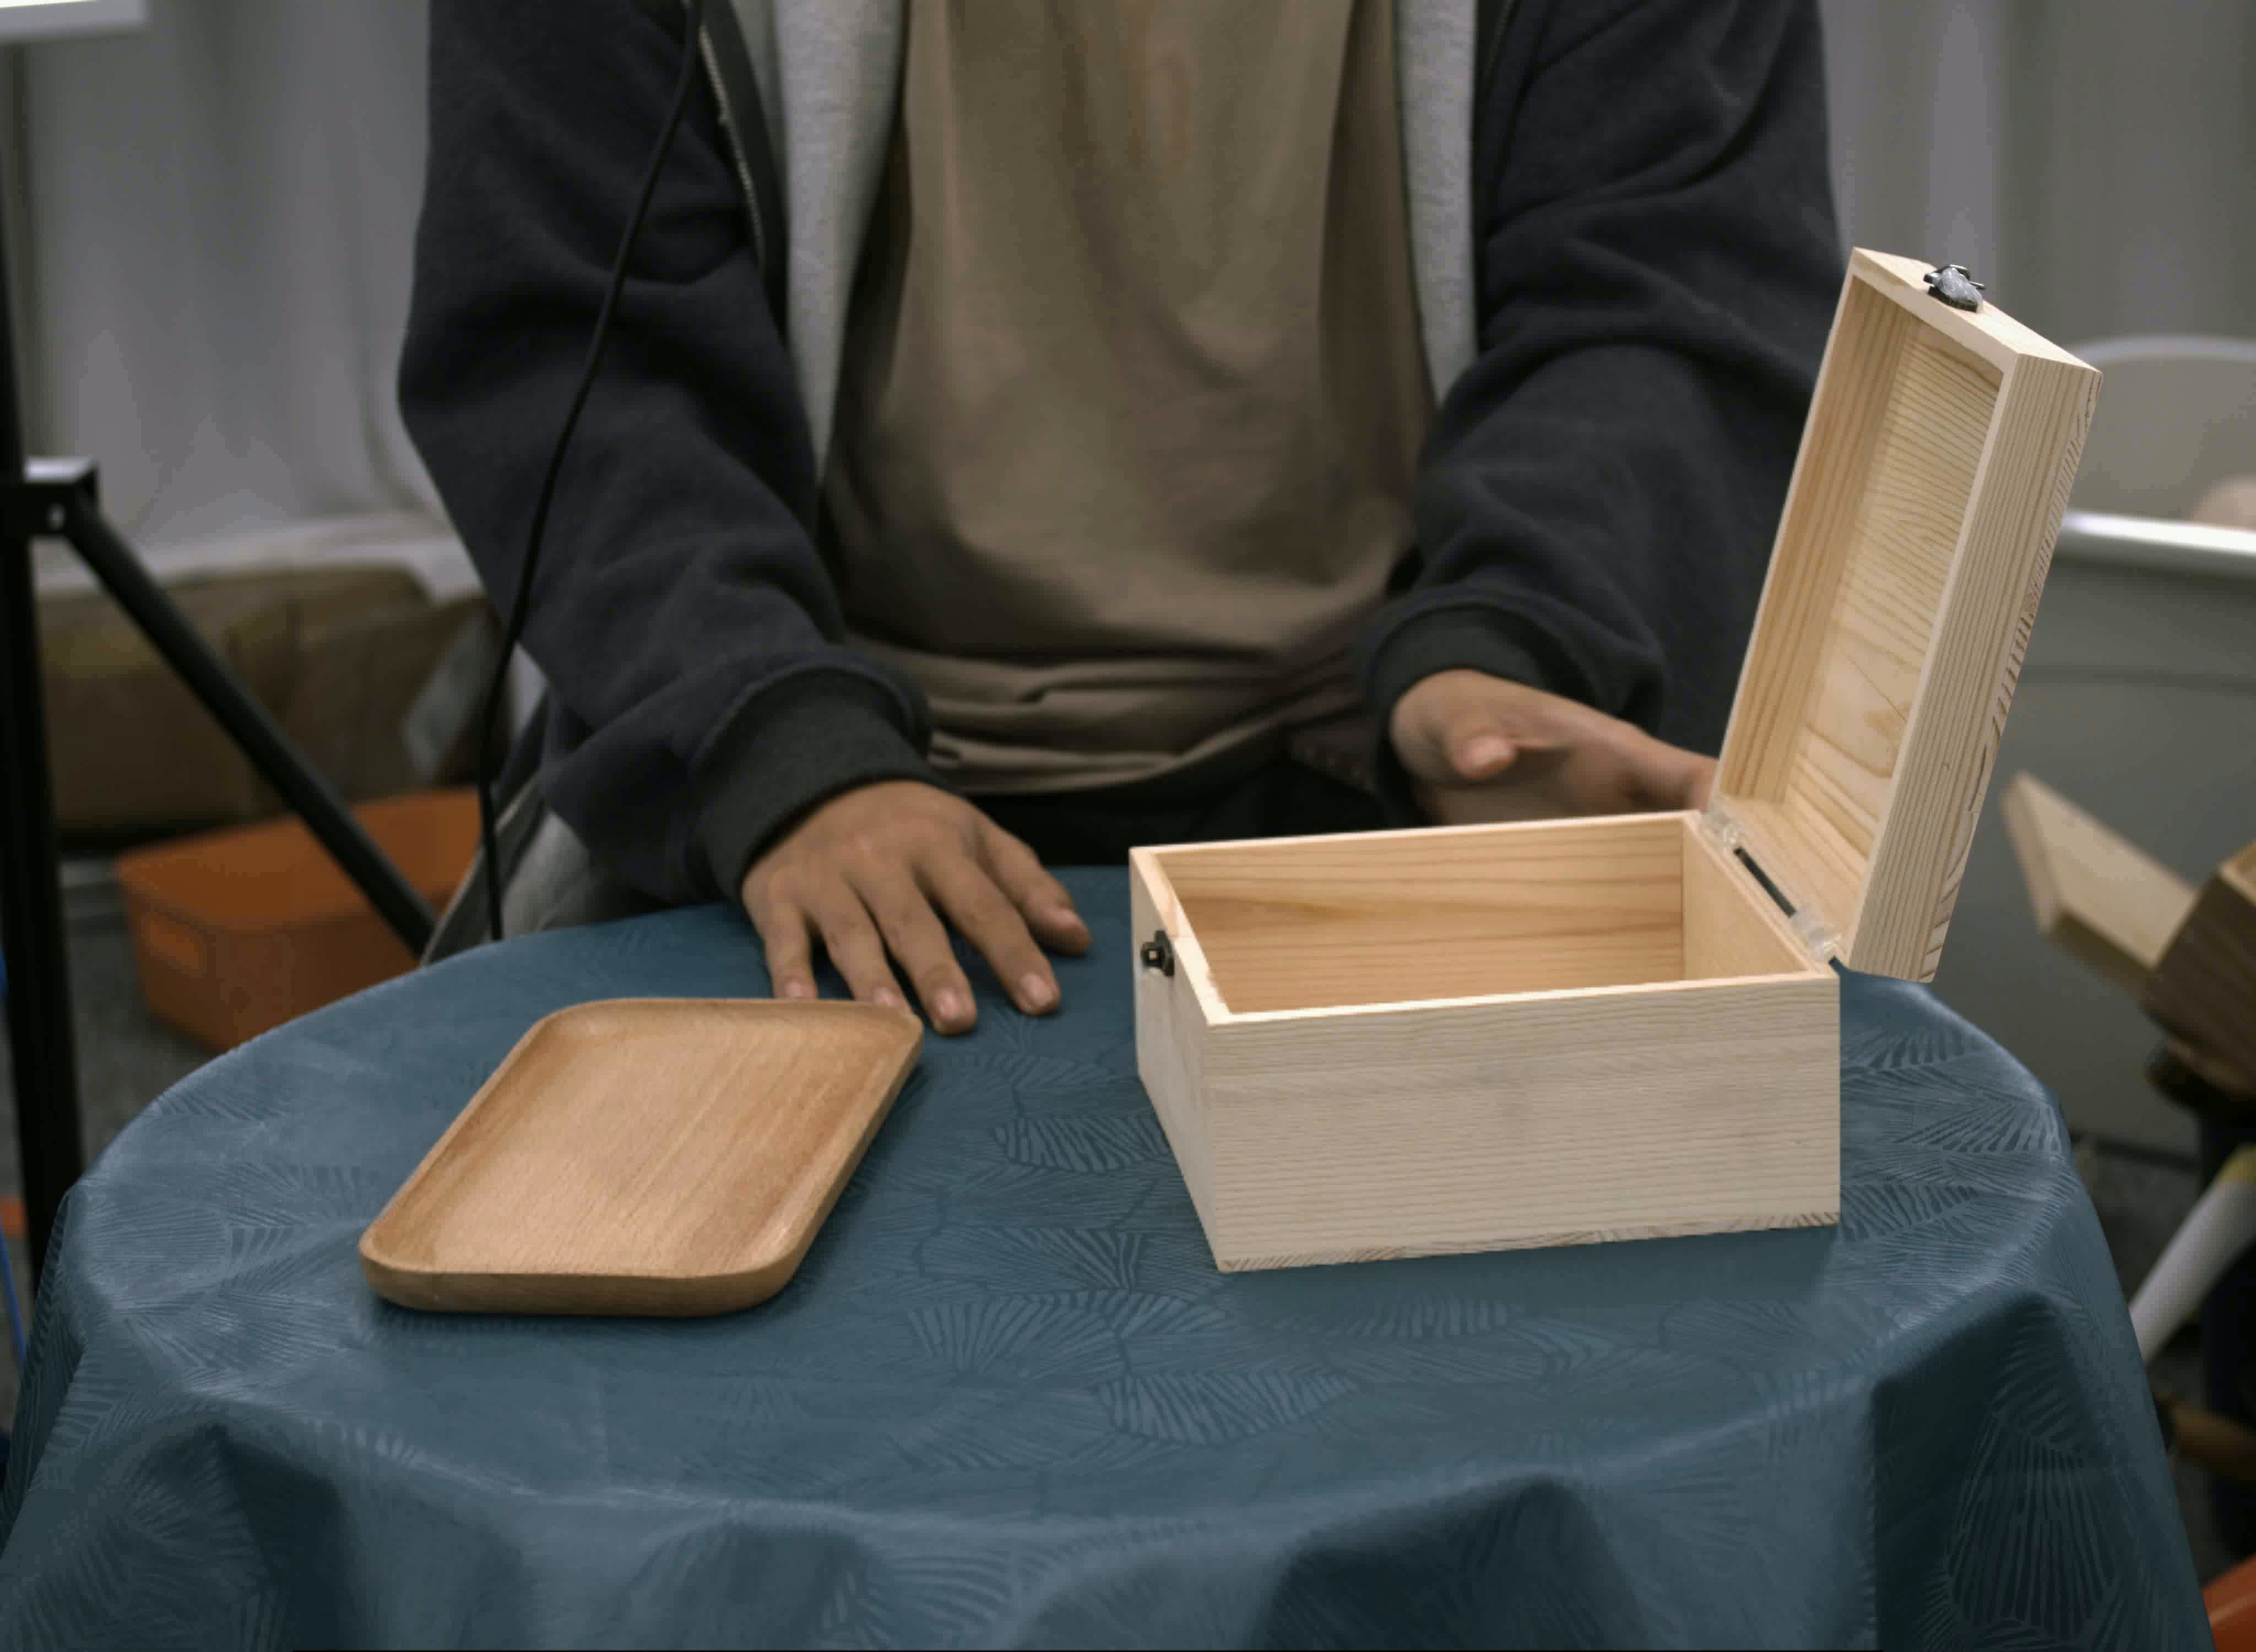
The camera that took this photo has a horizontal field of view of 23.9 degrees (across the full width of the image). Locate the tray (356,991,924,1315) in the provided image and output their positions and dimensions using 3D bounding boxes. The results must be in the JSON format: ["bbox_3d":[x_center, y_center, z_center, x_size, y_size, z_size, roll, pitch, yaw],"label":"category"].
[{"bbox_3d":[-0.141,0.095,1.596,0.131,0.023,0.250,3,16,9],"label":"tray"}]

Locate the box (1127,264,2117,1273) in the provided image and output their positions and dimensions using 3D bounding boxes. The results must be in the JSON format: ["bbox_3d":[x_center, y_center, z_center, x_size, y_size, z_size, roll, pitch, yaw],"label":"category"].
[{"bbox_3d":[0.134,-0.023,1.557,0.262,0.253,0.183,-3,12,-6],"label":"box"}]
